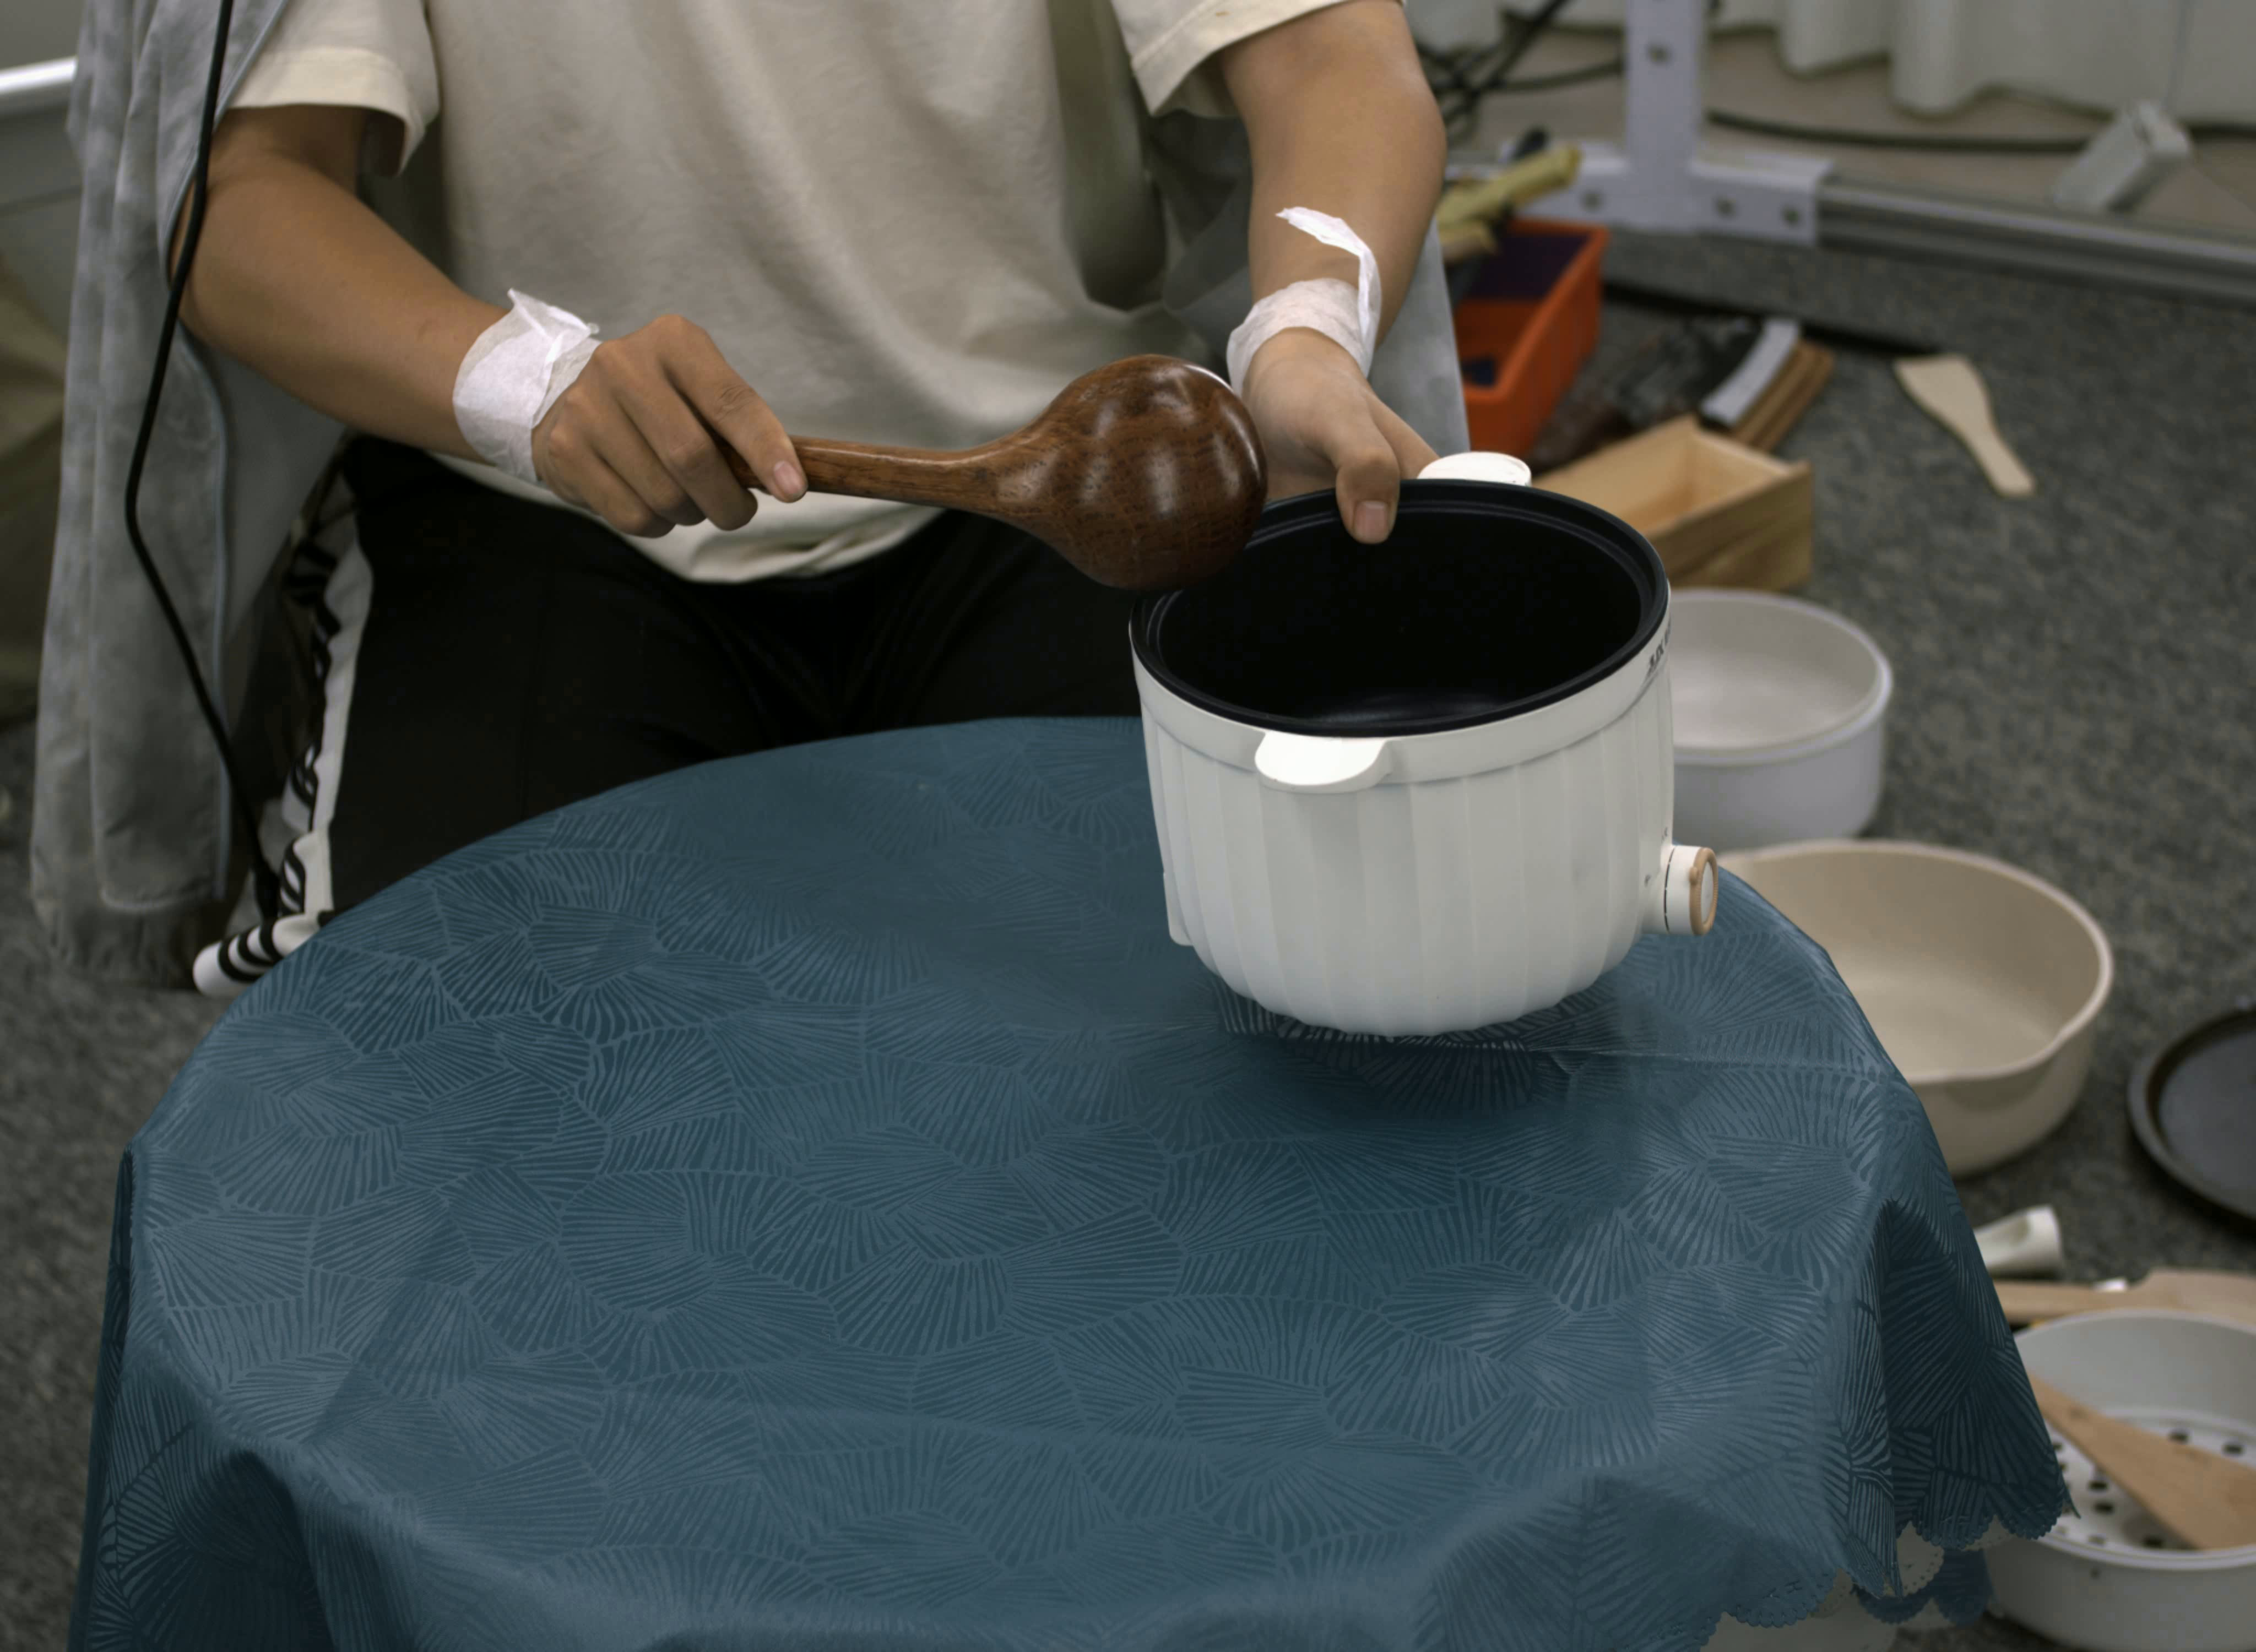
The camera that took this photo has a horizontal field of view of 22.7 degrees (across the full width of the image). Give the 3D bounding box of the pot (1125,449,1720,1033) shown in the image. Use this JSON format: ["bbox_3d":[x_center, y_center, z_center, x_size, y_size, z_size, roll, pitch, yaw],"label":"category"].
[{"bbox_3d":[0.101,-0.020,1.910,0.189,0.141,0.245,0,30,19],"label":"pot"}]

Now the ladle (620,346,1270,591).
[{"bbox_3d":[-0.065,-0.127,1.965,0.077,0.082,0.272,-3,6,-43],"label":"ladle"}]
